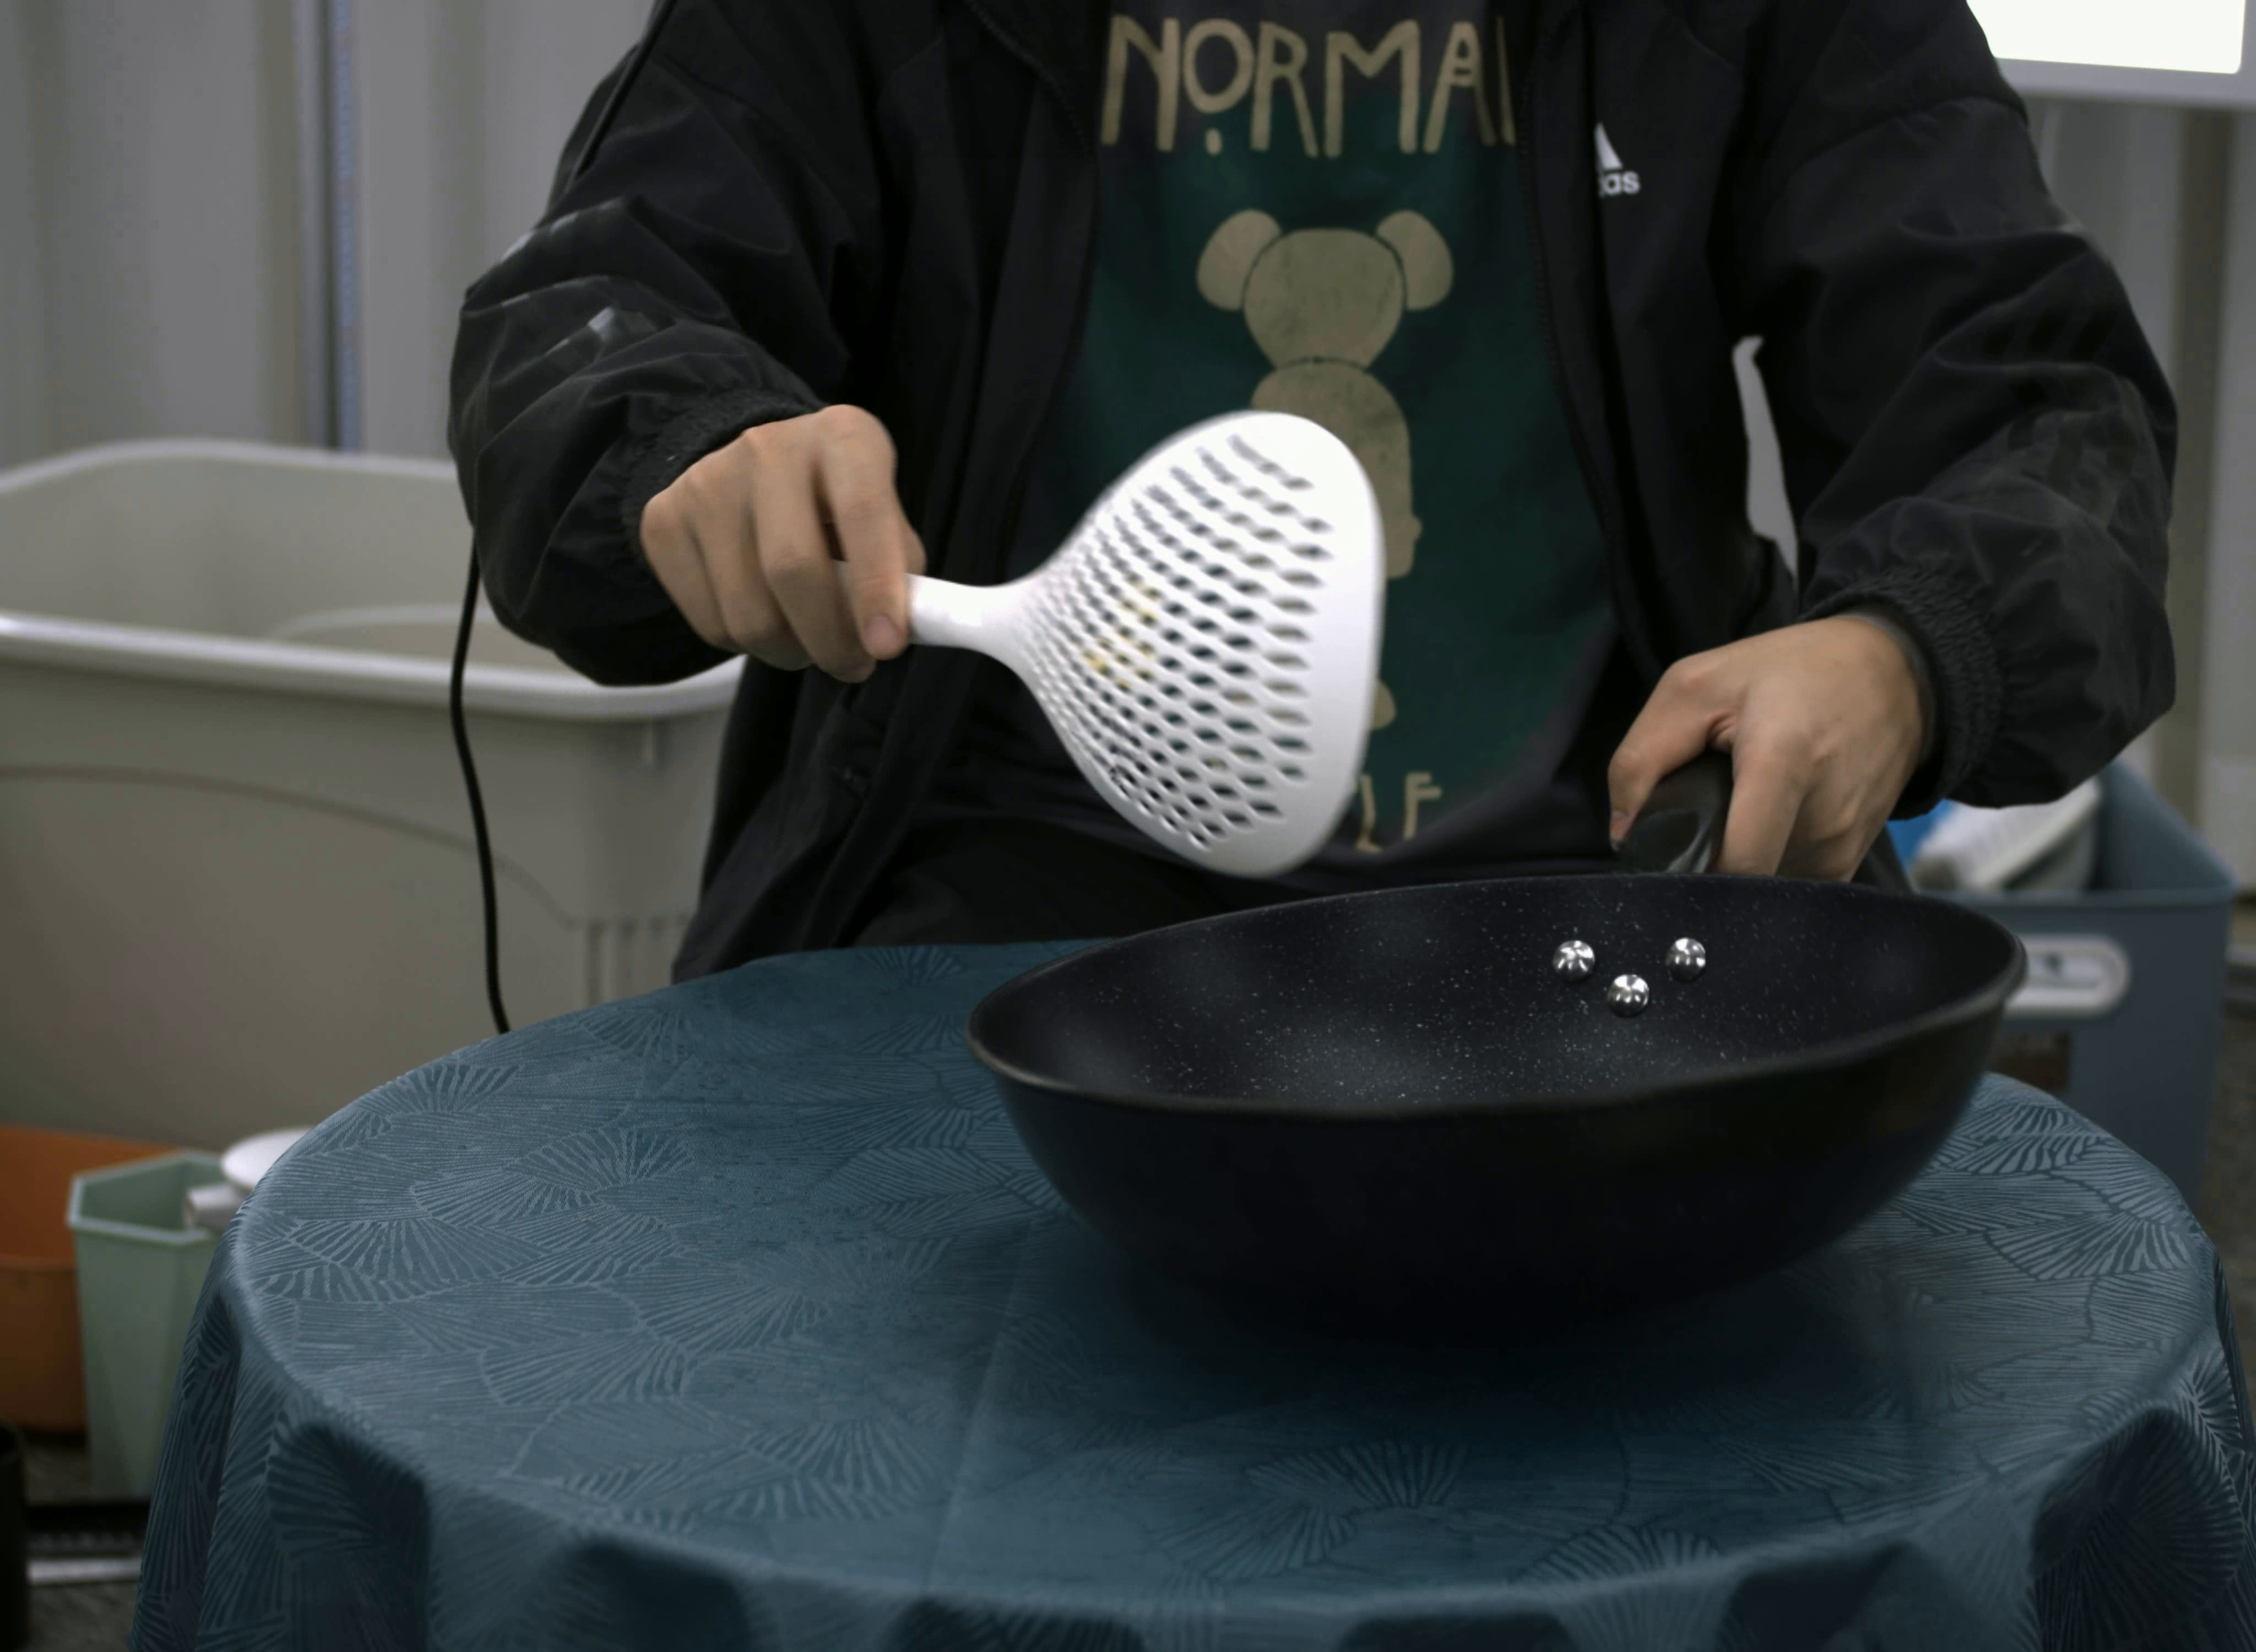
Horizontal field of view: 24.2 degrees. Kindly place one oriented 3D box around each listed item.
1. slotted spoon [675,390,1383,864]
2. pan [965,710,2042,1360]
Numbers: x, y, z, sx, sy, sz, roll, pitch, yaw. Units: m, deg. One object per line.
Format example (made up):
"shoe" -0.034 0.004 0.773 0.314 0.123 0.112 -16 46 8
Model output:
"slotted spoon" -0.039 -0.066 1.603 0.050 0.137 0.344 1 4 -32
"pan" 0.137 0.062 1.601 0.307 0.112 0.477 1 12 20
